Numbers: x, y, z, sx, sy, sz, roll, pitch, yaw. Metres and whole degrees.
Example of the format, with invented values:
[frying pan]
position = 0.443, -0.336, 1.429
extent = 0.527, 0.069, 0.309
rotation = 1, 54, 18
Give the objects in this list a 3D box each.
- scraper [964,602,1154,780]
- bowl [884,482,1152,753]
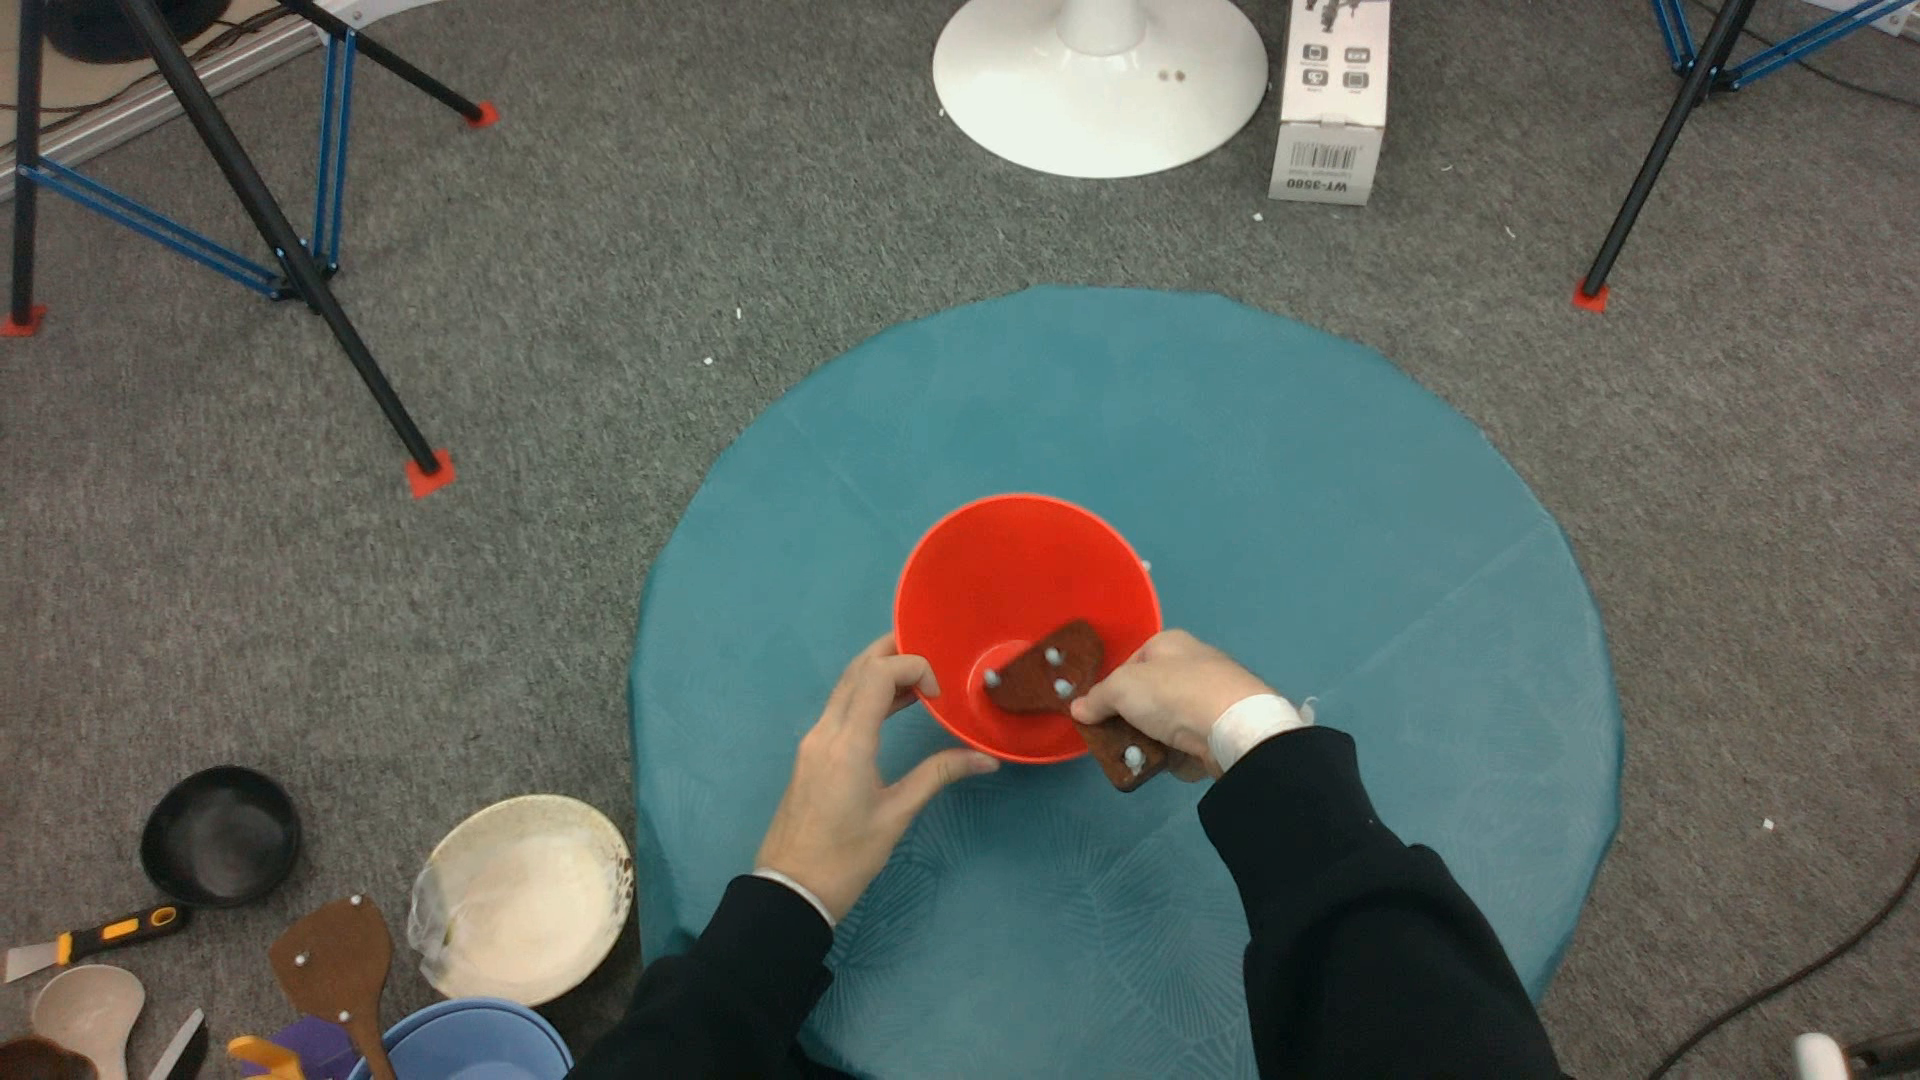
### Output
[scraper]
position = 0.055, 0.079, 0.713
extent = 0.076, 0.011, 0.211
rotation = -33, 17, -4
[bowl]
position = 0.028, 0.055, 0.777
extent = 0.148, 0.104, 0.148
rotation = 3, 65, -6
